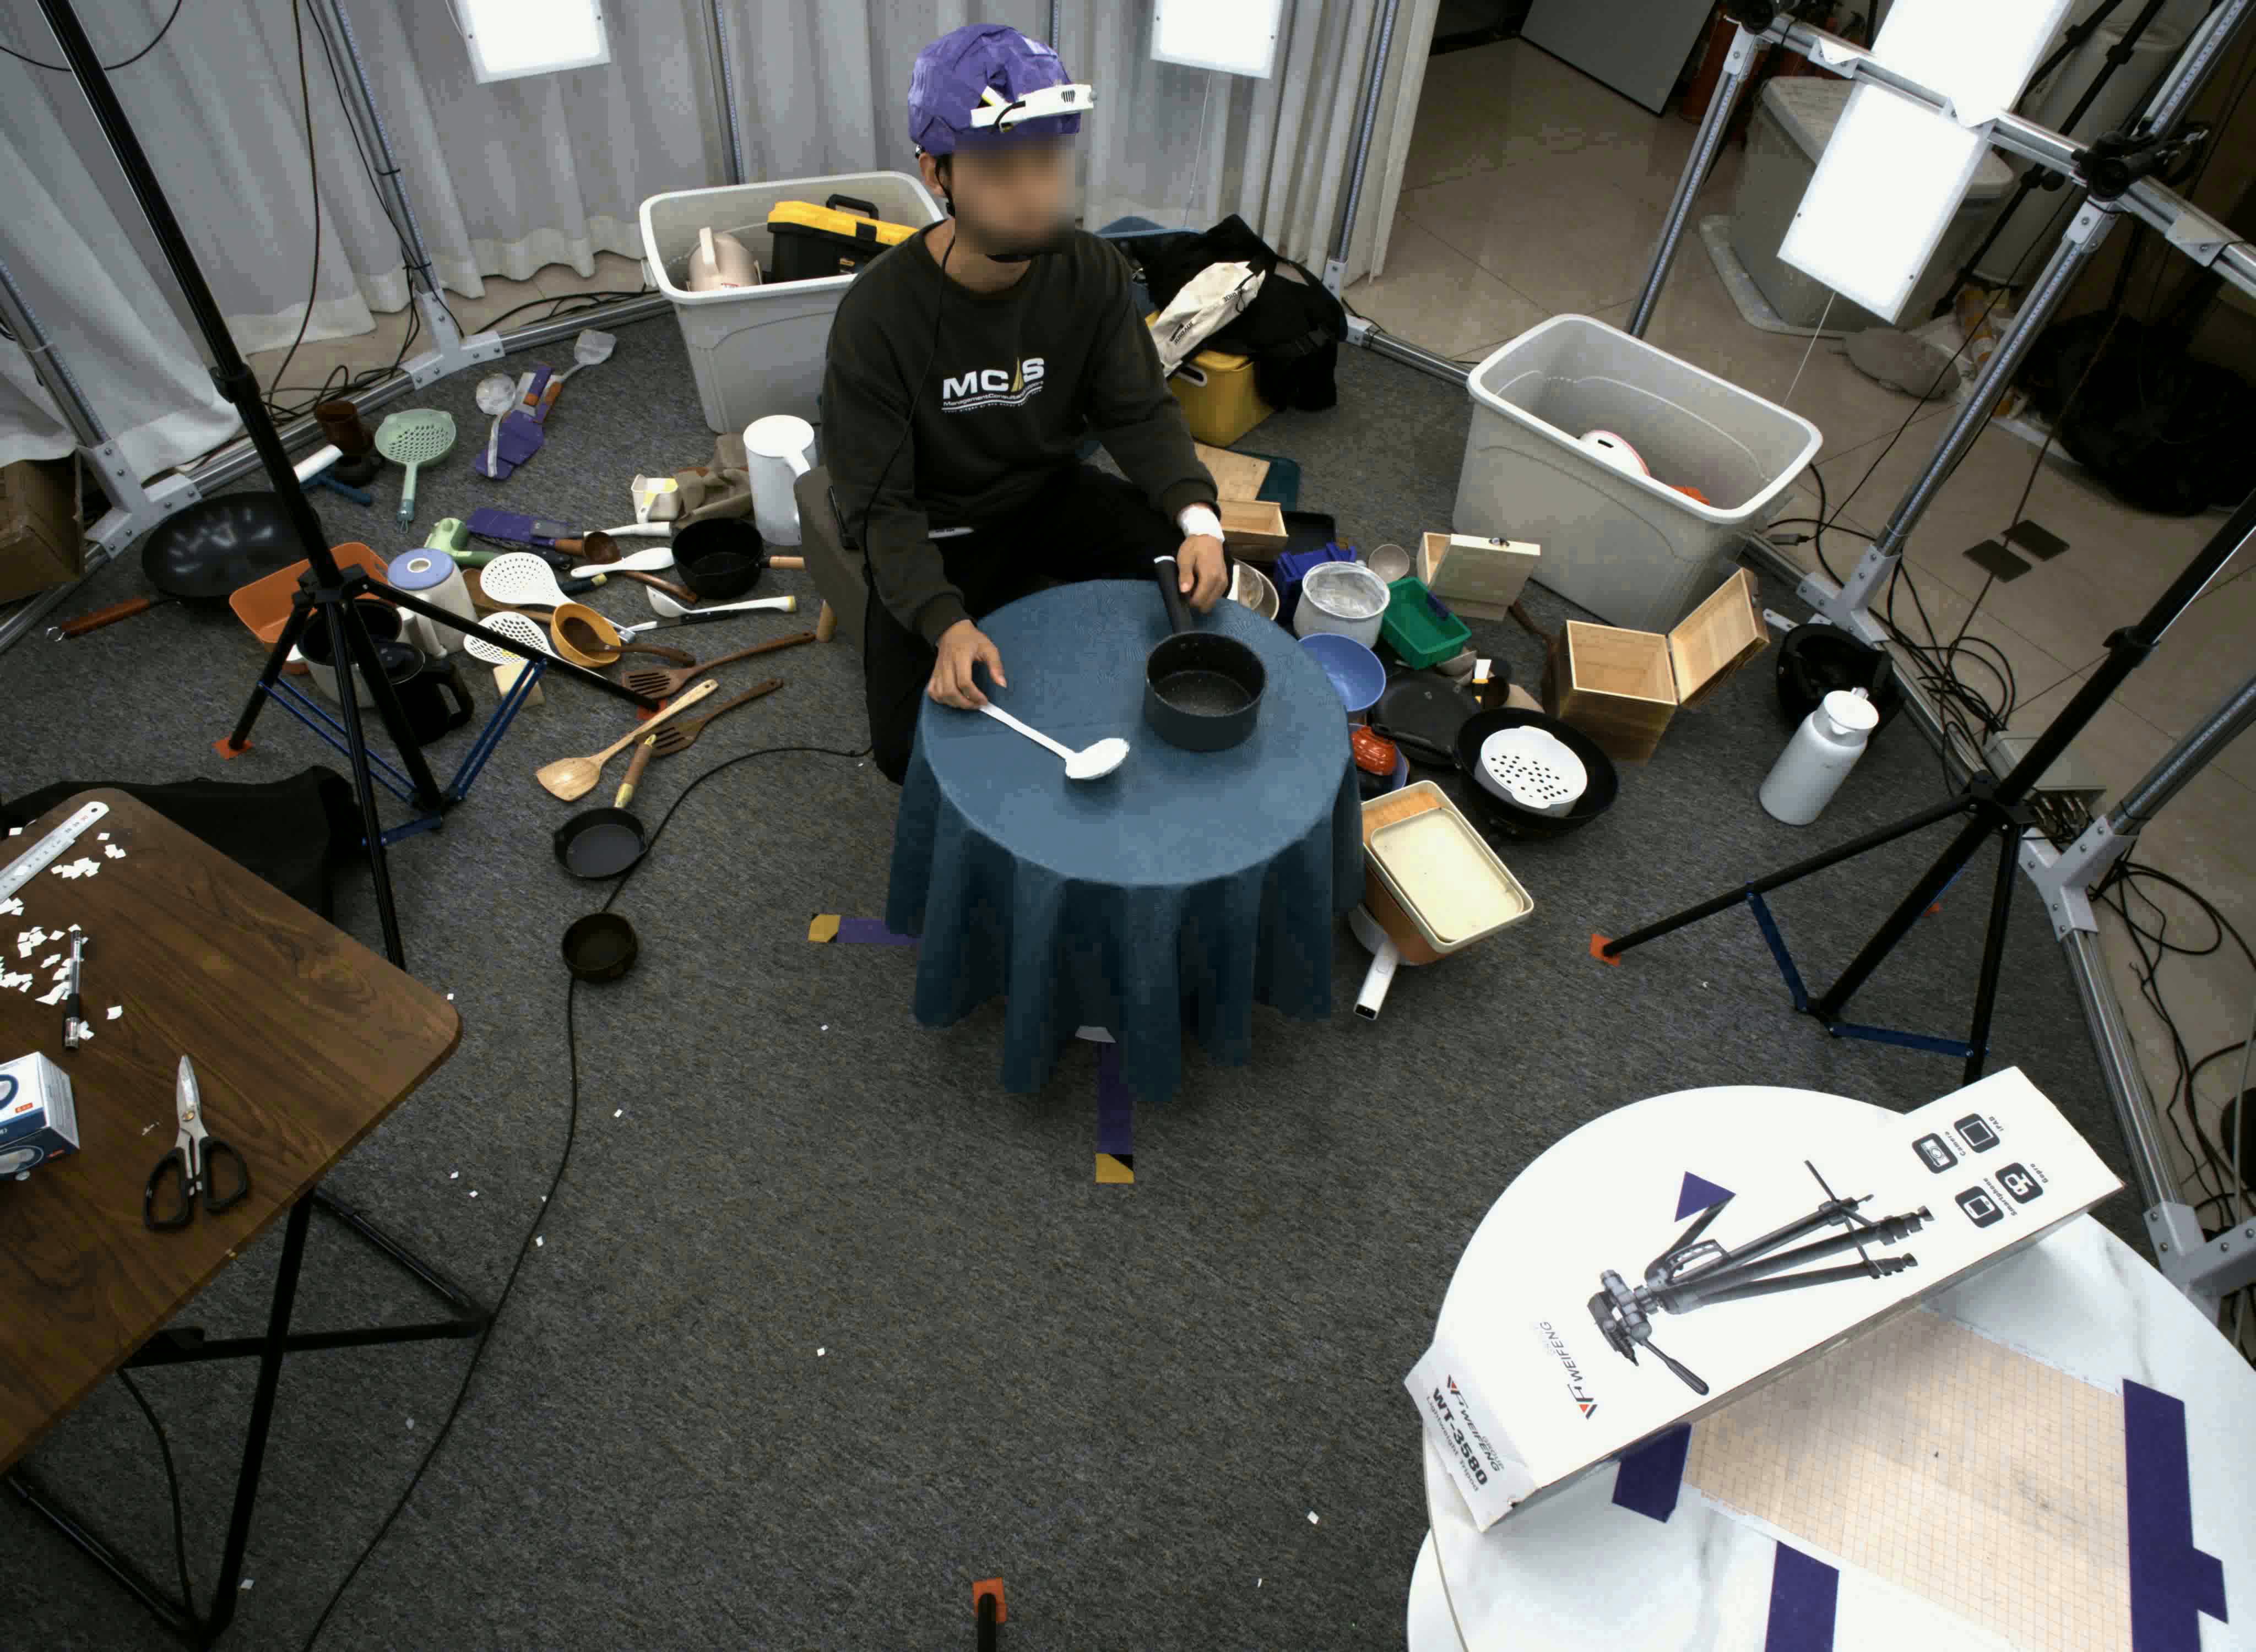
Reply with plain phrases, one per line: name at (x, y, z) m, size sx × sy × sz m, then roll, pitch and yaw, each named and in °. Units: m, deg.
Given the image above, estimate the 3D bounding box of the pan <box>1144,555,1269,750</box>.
pan at (0.091, -0.250, 1.837) m, size 0.172 × 0.084 × 0.337 m, roll -5°, pitch 50°, yaw -10°

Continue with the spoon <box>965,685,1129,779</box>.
spoon at (-0.116, -0.144, 1.747) m, size 0.281 × 0.058 × 0.102 m, roll 34°, pitch 53°, yaw 23°
